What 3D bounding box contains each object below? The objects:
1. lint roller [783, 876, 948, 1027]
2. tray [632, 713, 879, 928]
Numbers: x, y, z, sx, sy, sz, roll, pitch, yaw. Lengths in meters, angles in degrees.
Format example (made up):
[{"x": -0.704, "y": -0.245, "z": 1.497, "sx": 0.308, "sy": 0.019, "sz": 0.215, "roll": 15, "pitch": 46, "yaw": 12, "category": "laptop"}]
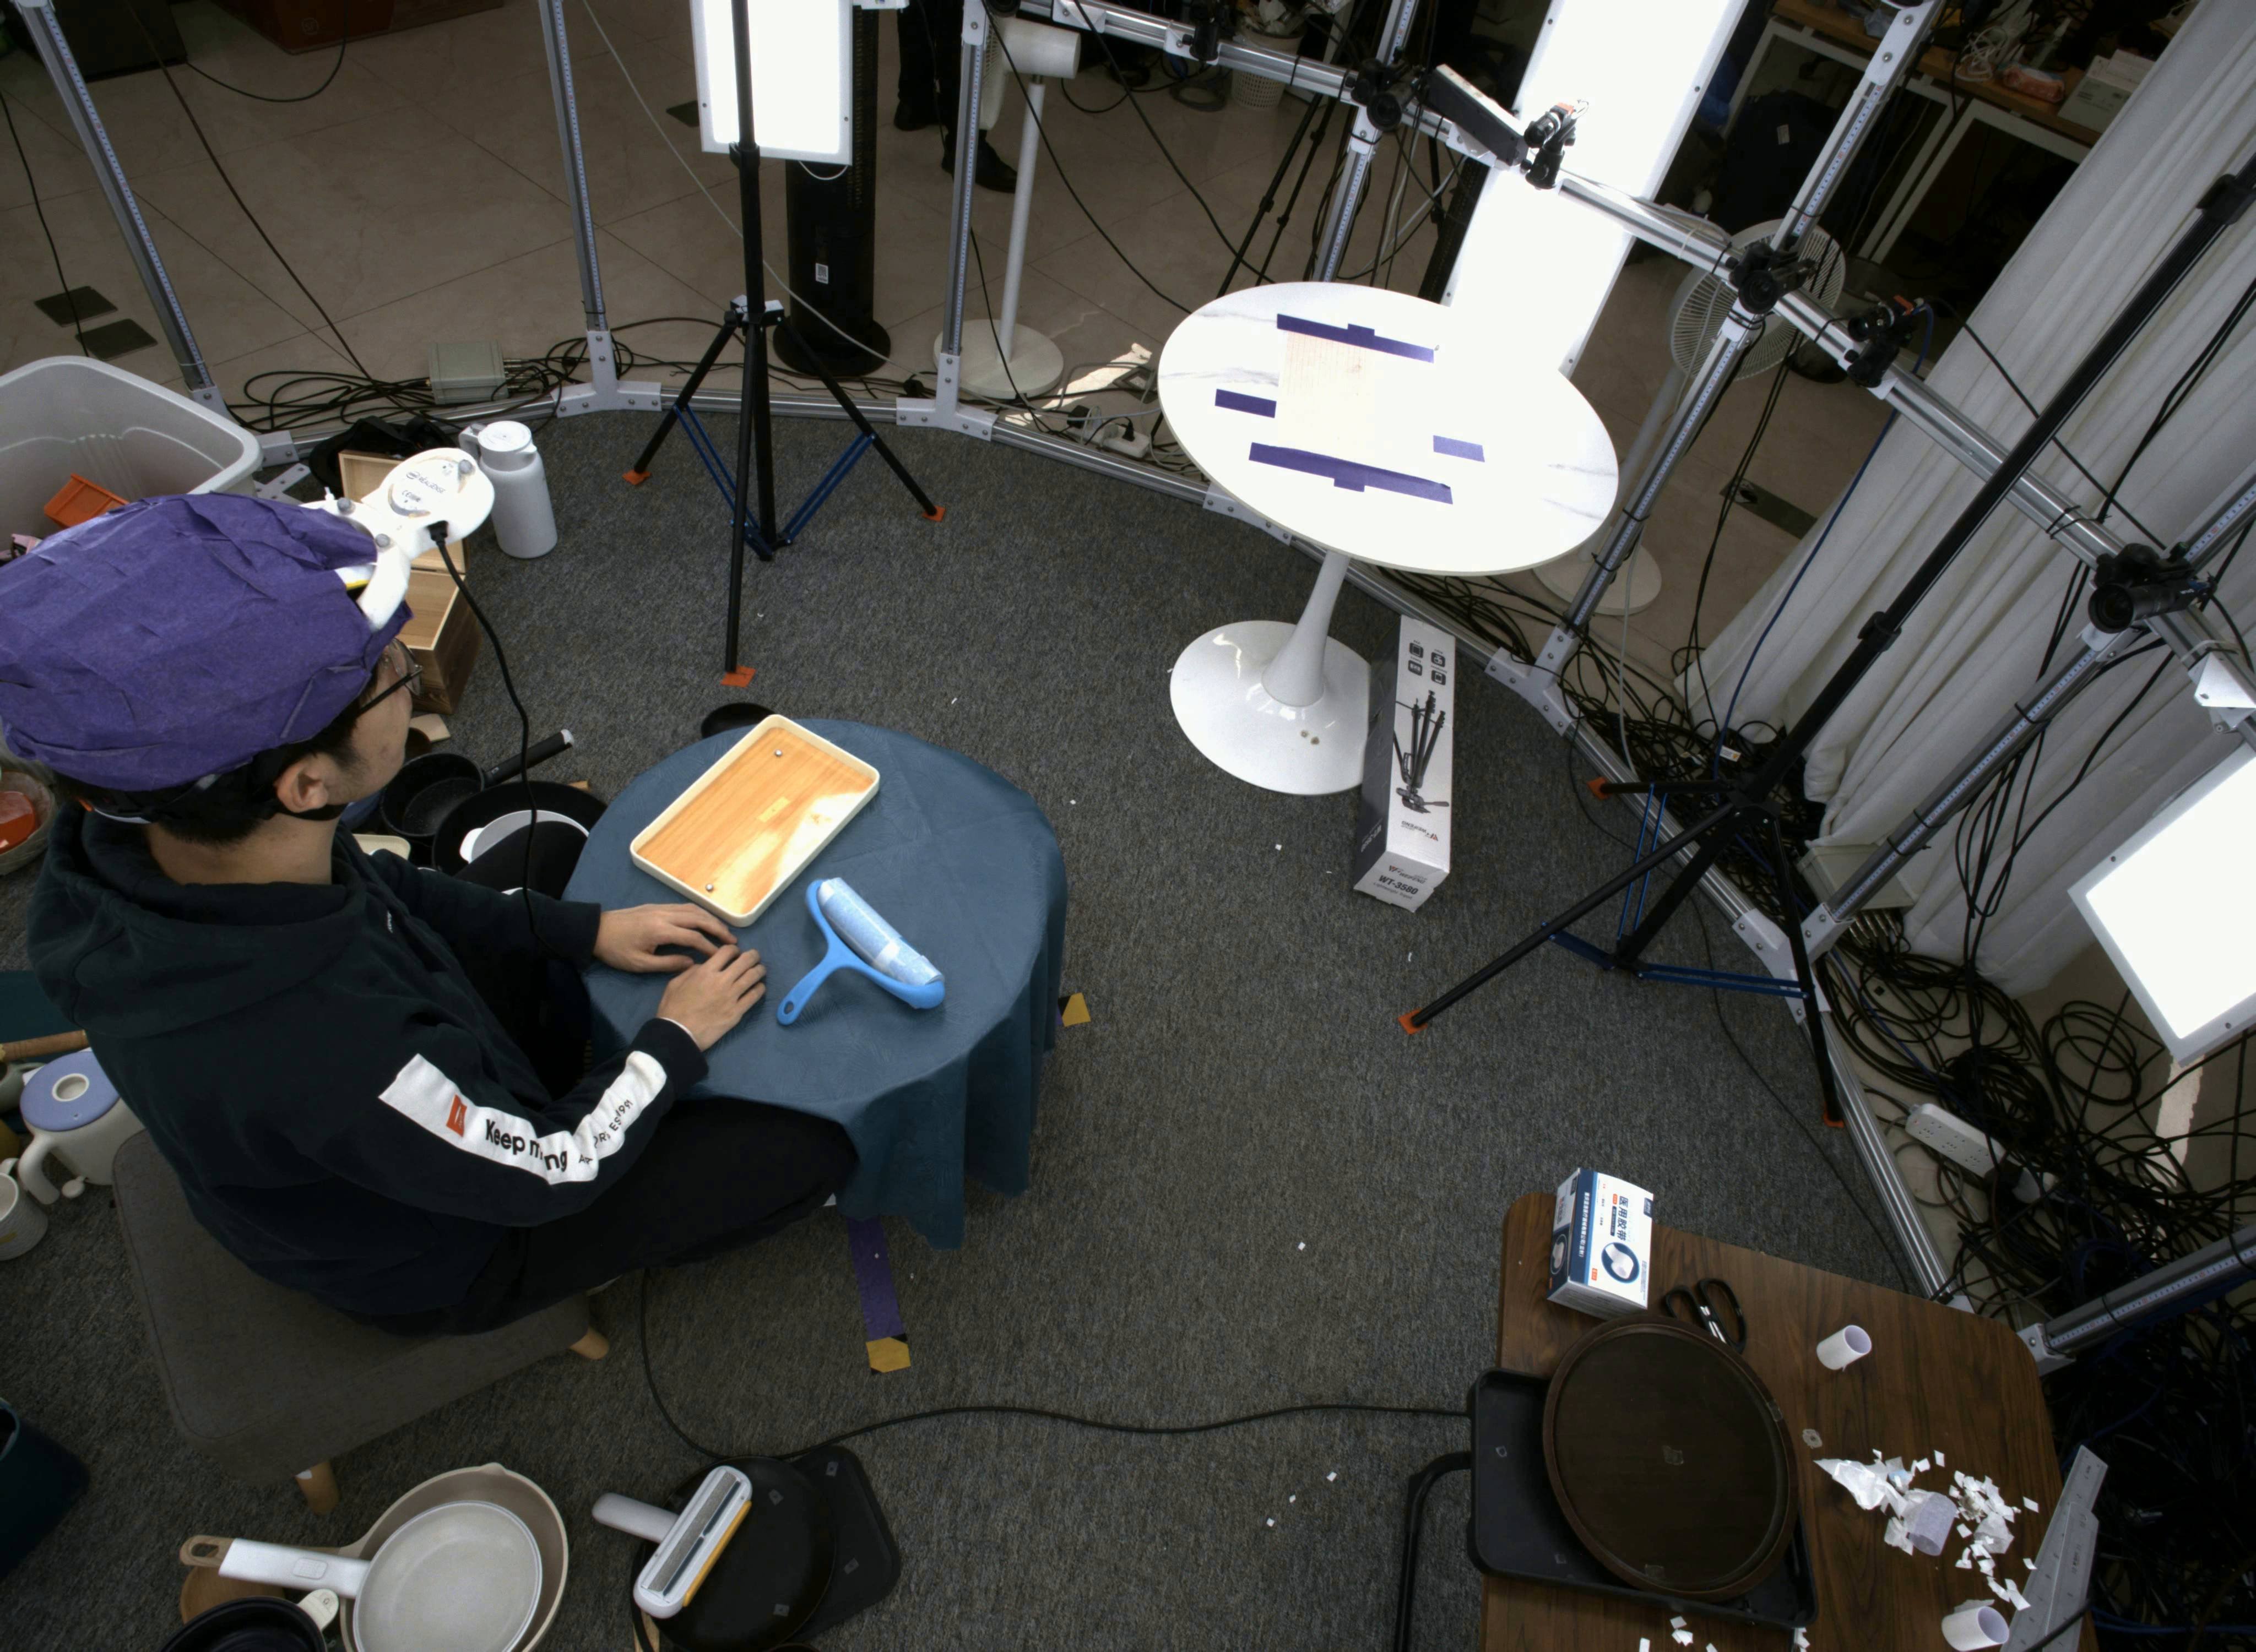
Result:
[{"x": -0.348, "y": 0.171, "z": 1.588, "sx": 0.225, "sy": 0.069, "sz": 0.180, "roll": 38, "pitch": 53, "yaw": 12, "category": "lint roller"}, {"x": -0.487, "y": -0.015, "z": 1.707, "sx": 0.188, "sy": 0.028, "sz": 0.299, "roll": 30, "pitch": 53, "yaw": 8, "category": "tray"}]
